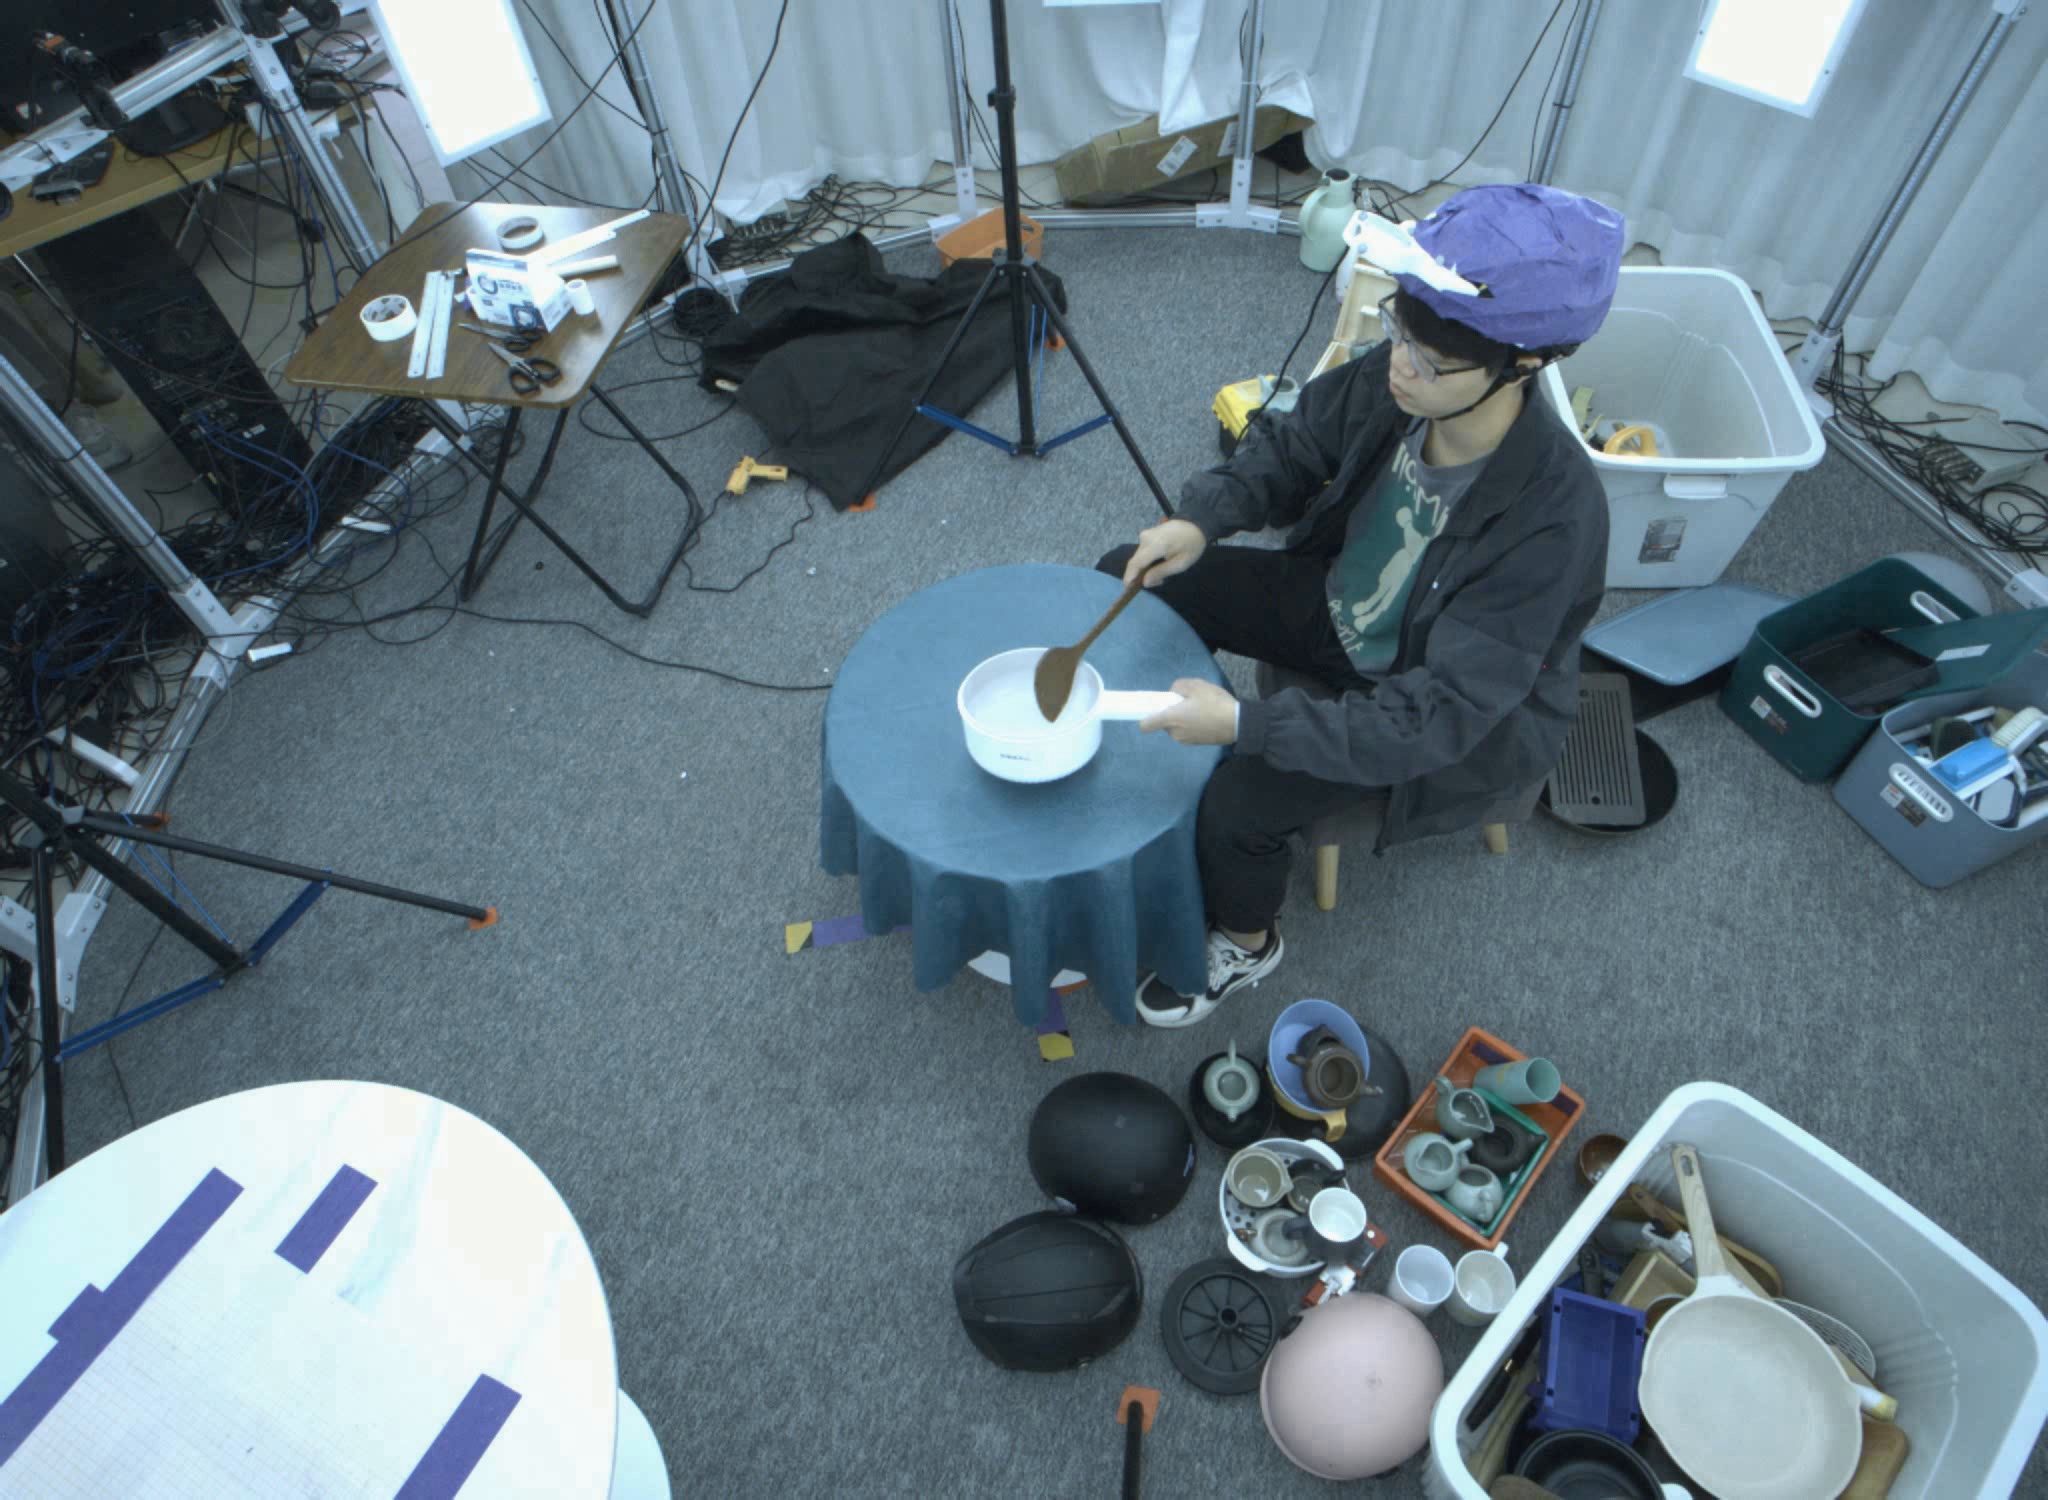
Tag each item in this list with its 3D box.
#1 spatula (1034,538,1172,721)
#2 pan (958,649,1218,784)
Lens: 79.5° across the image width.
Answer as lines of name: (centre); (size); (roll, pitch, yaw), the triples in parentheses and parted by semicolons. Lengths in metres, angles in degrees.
spatula: (0.120, -0.189, 1.737); (0.015, 0.097, 0.388); (14, 49, 34)
pan: (0.088, -0.038, 1.701); (0.353, 0.103, 0.200); (3, 42, 6)
